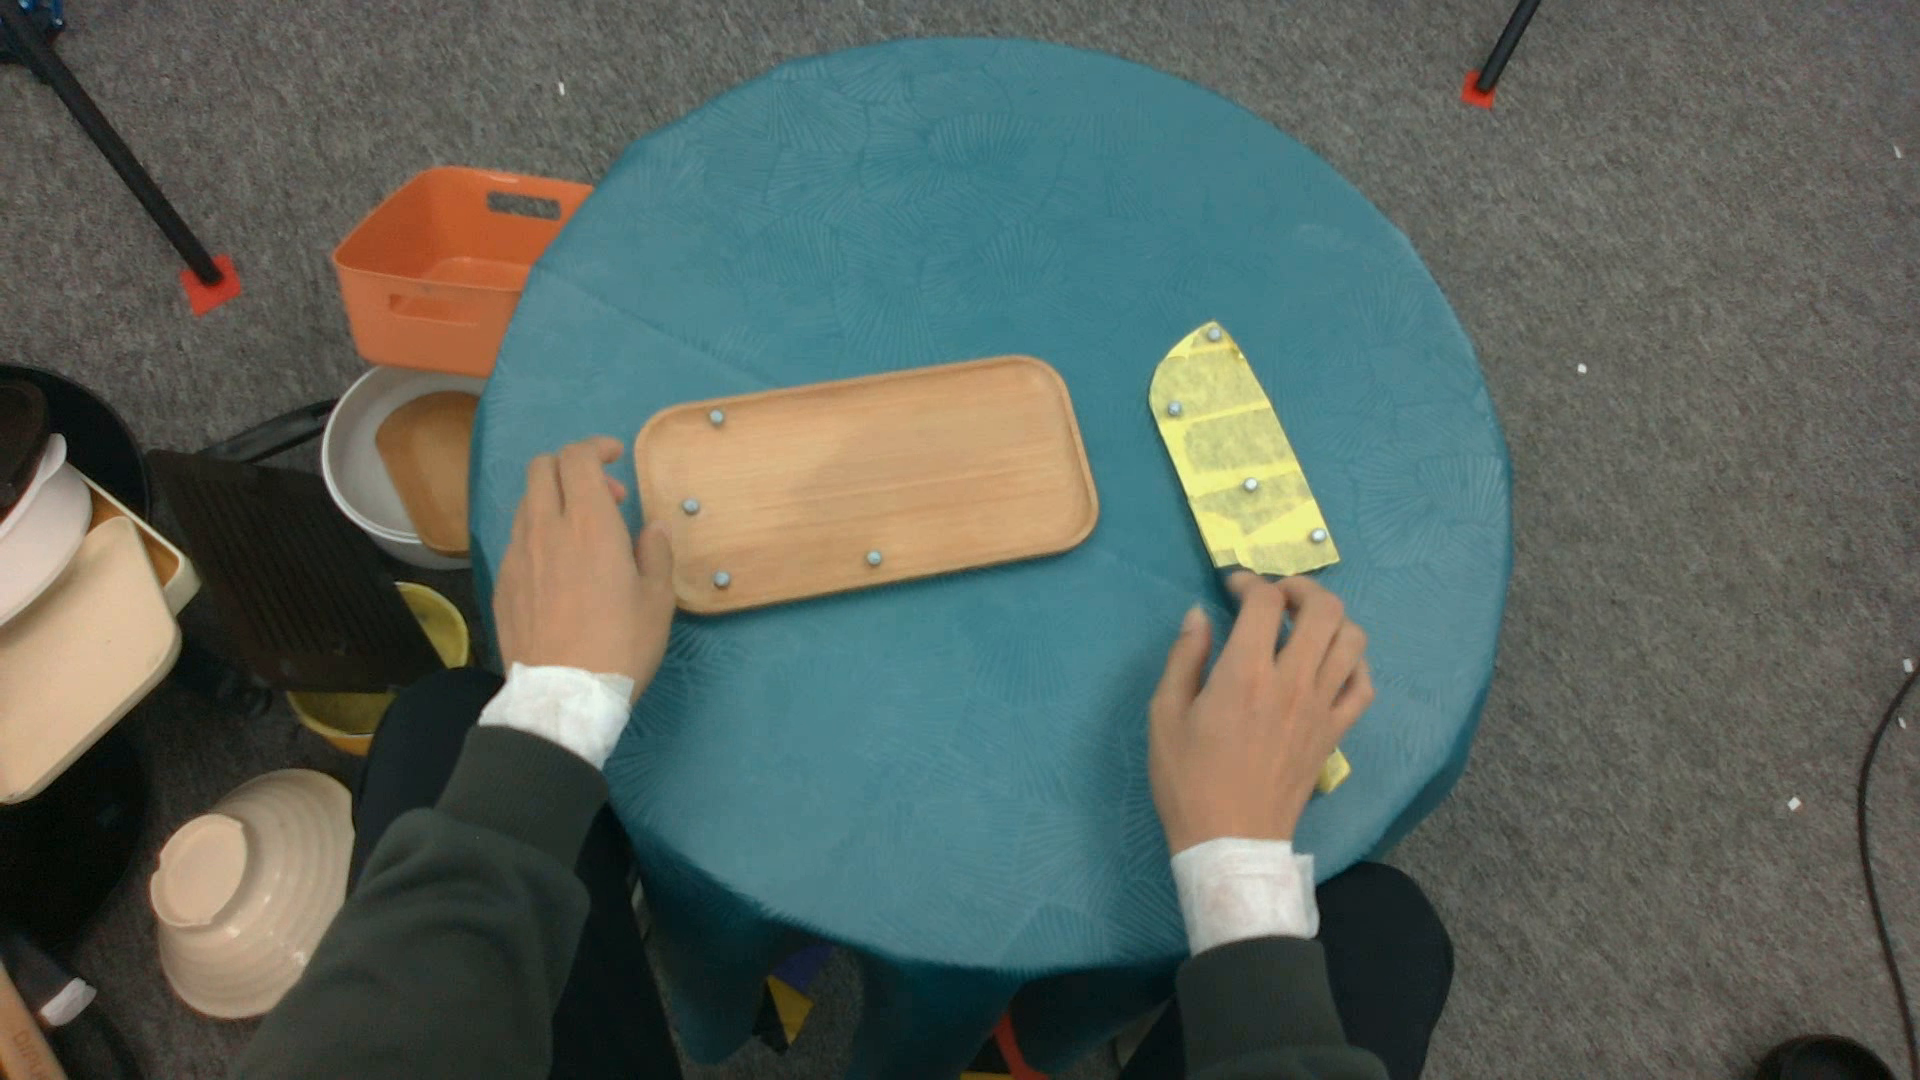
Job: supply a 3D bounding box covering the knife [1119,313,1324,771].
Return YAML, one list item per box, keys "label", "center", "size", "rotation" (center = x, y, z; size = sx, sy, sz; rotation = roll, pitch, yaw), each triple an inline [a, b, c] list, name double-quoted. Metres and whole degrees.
- label: "knife"
  center: [0.158, -0.010, 0.788]
  size: [0.081, 0.027, 0.290]
  rotation: [-11, 67, -10]

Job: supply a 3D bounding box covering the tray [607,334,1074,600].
- label: "tray"
  center: [-0.066, -0.044, 0.774]
  size: [0.251, 0.023, 0.131]
  rotation: [-10, 71, -12]
